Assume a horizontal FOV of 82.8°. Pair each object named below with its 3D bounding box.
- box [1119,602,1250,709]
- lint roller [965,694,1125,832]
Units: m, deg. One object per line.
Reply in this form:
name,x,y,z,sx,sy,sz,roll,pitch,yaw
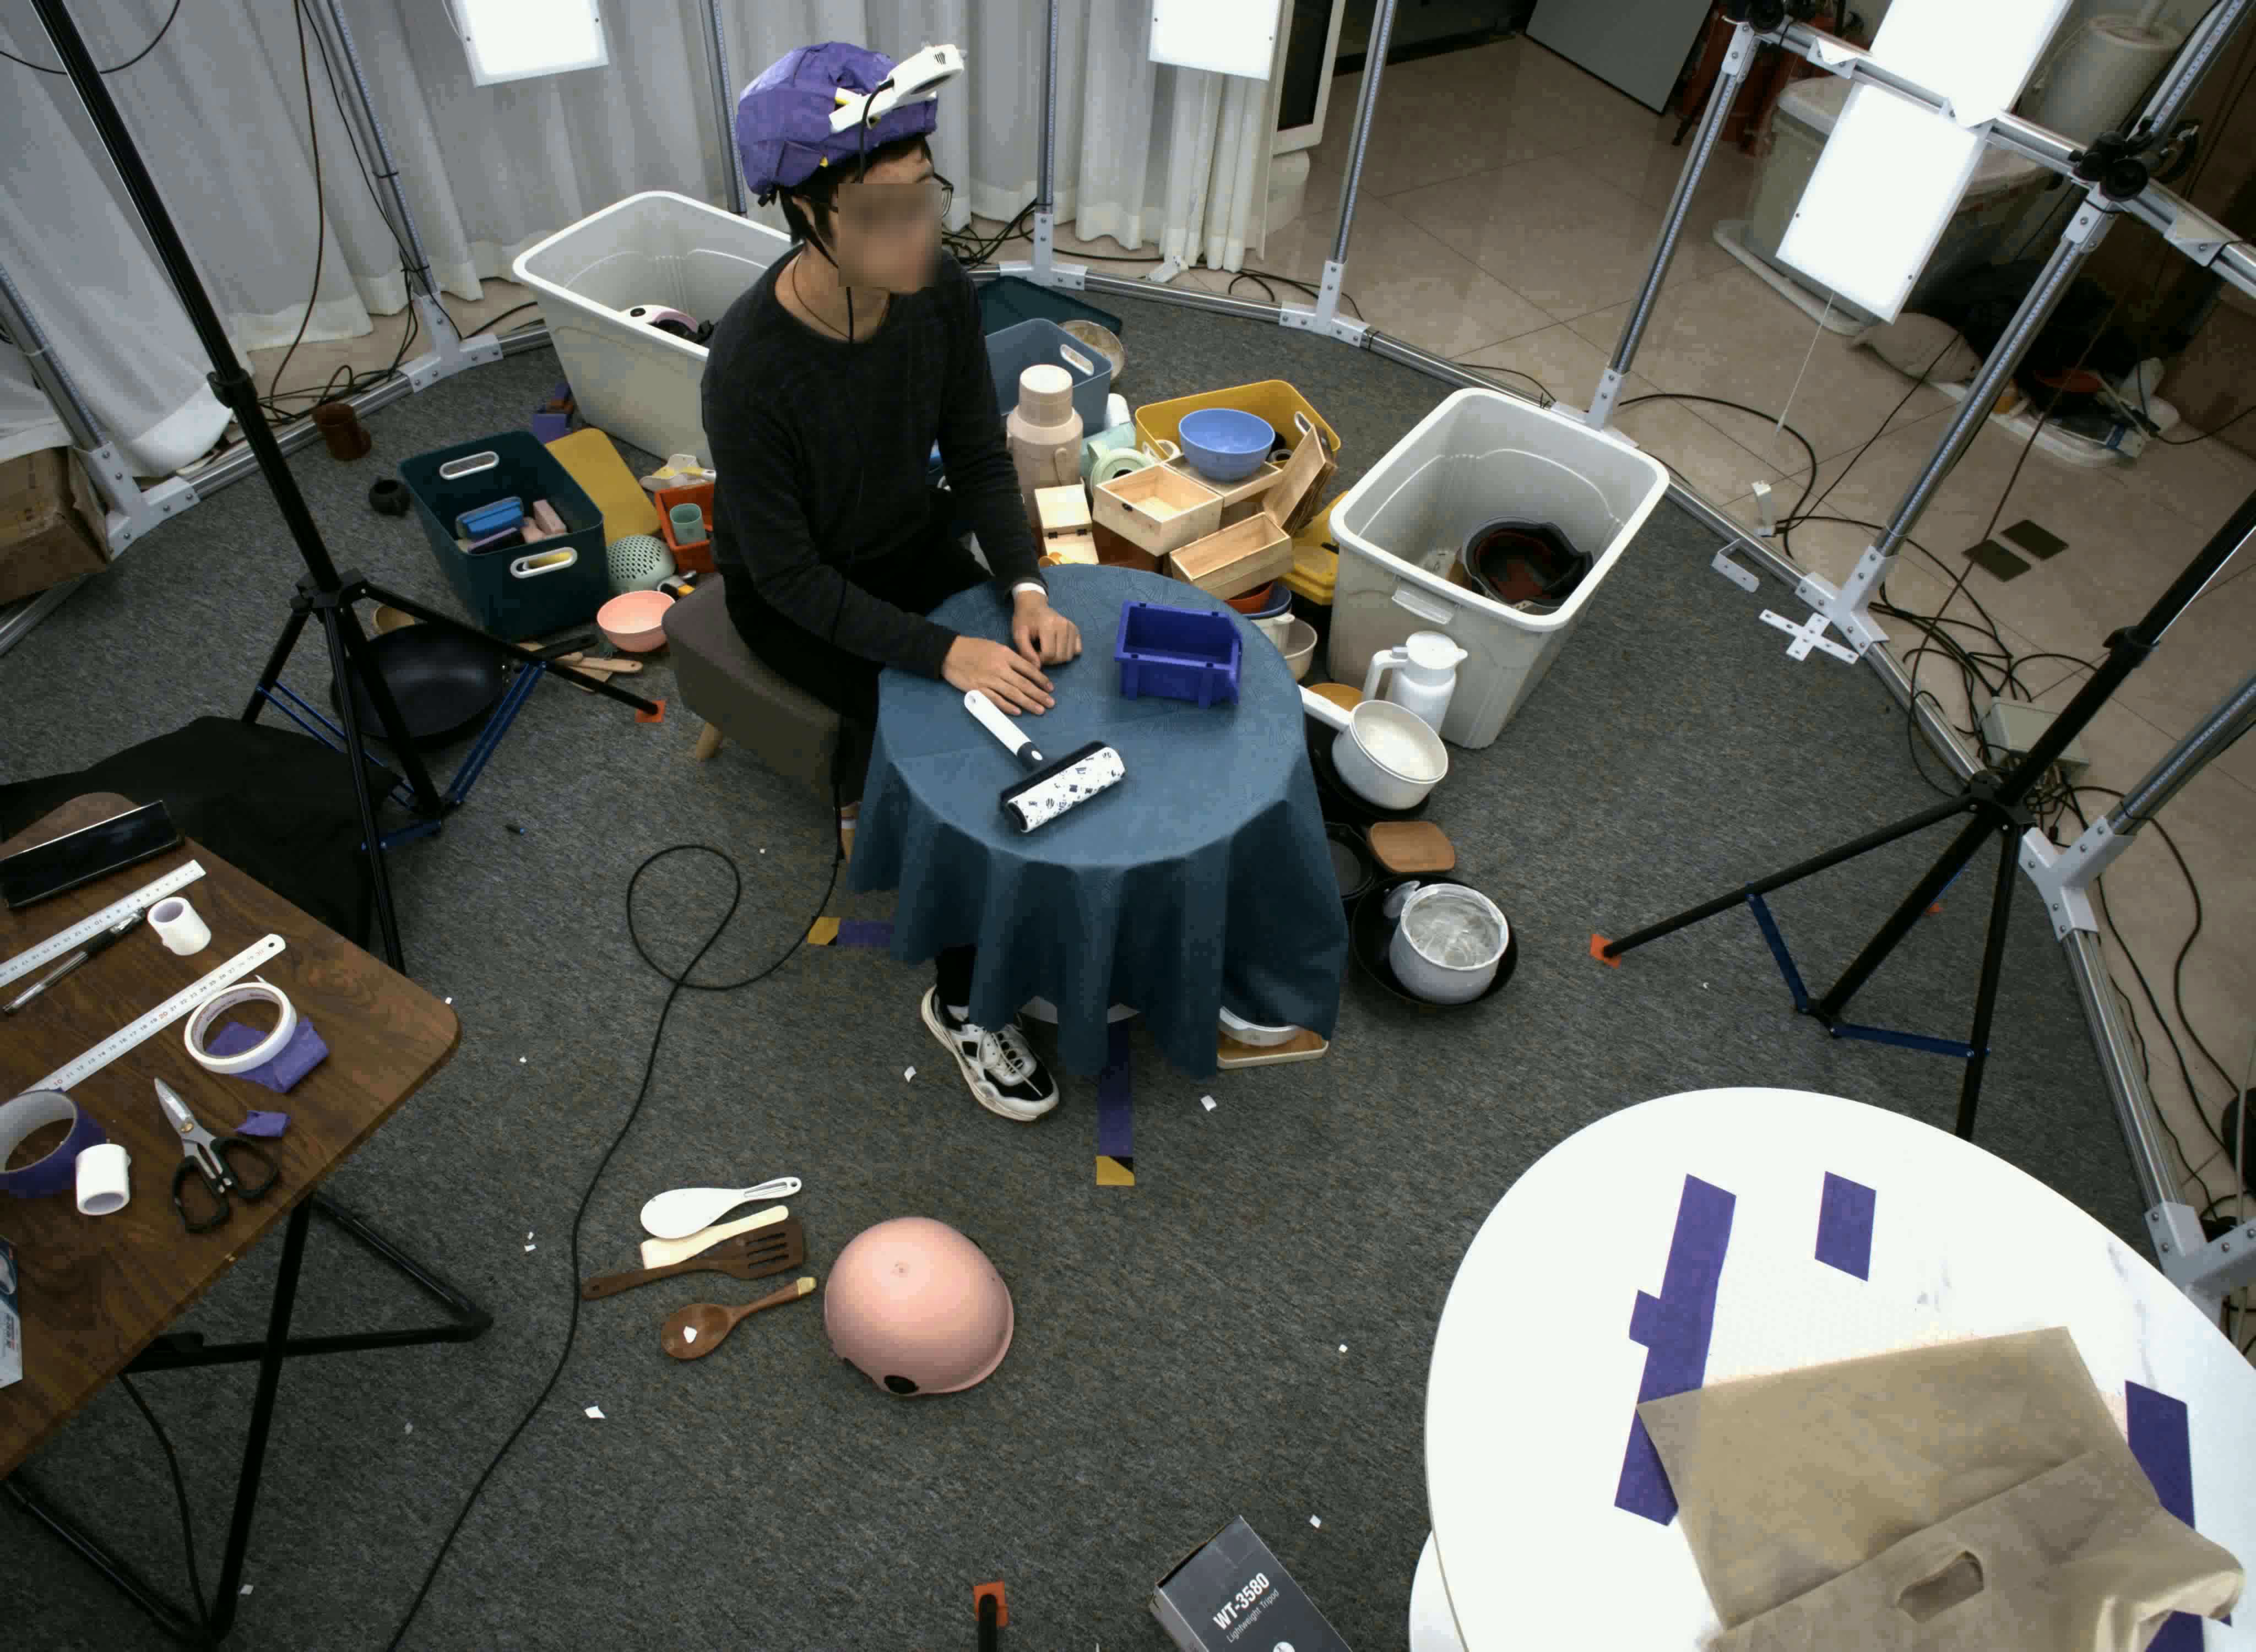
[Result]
box,0.084,-0.244,1.834,0.179,0.080,0.127,6,49,5
lint roller,-0.145,-0.109,1.727,0.177,0.049,0.251,-31,56,-25
